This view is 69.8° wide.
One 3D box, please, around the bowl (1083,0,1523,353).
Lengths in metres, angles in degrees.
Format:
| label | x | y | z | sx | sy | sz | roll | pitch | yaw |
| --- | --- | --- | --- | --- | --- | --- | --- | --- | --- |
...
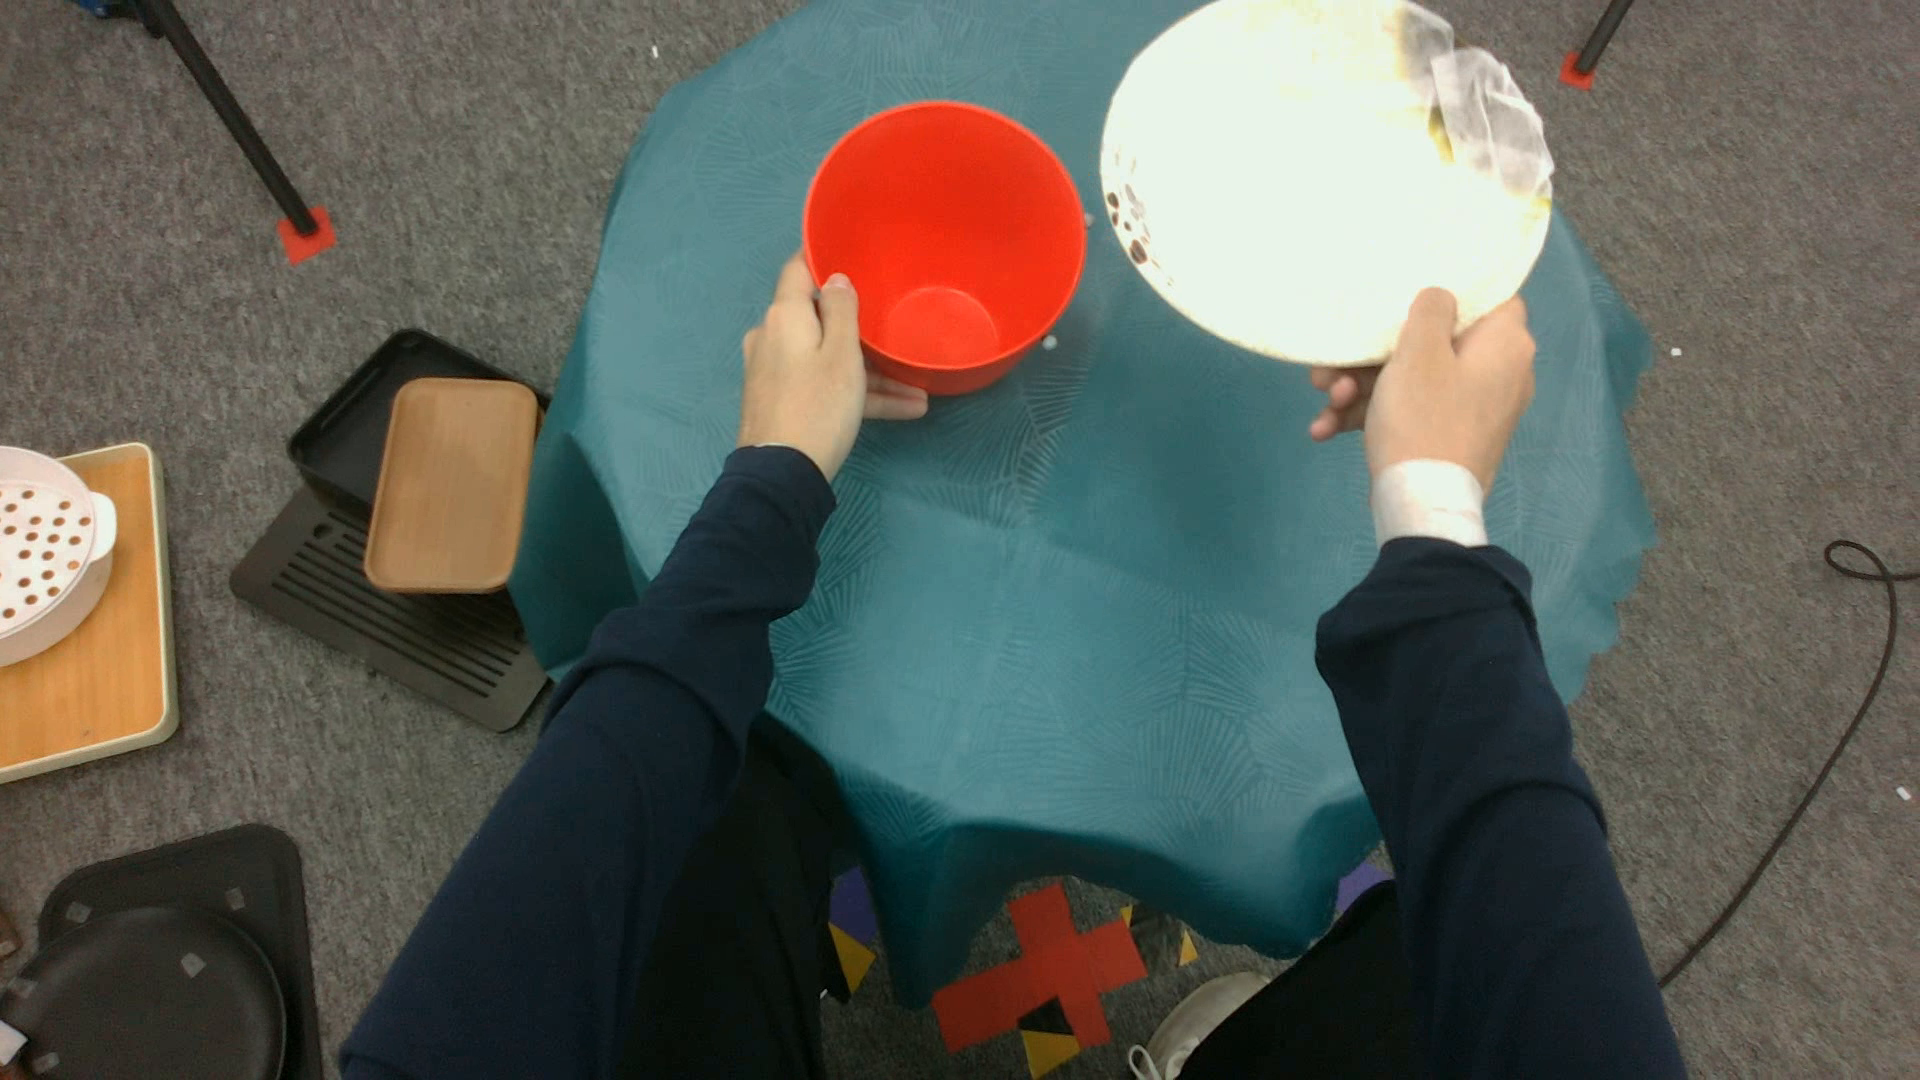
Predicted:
| label | x | y | z | sx | sy | sz | roll | pitch | yaw |
| --- | --- | --- | --- | --- | --- | --- | --- | --- | --- |
| bowl | 0.160 | -0.165 | 0.676 | 0.204 | 0.077 | 0.204 | 0 | 69 | 1 |

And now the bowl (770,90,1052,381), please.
| label | x | y | z | sx | sy | sz | roll | pitch | yaw |
| --- | --- | --- | --- | --- | --- | --- | --- | --- | --- |
| bowl | -0.027 | -0.152 | 0.754 | 0.148 | 0.104 | 0.148 | 1 | 71 | -4 |
